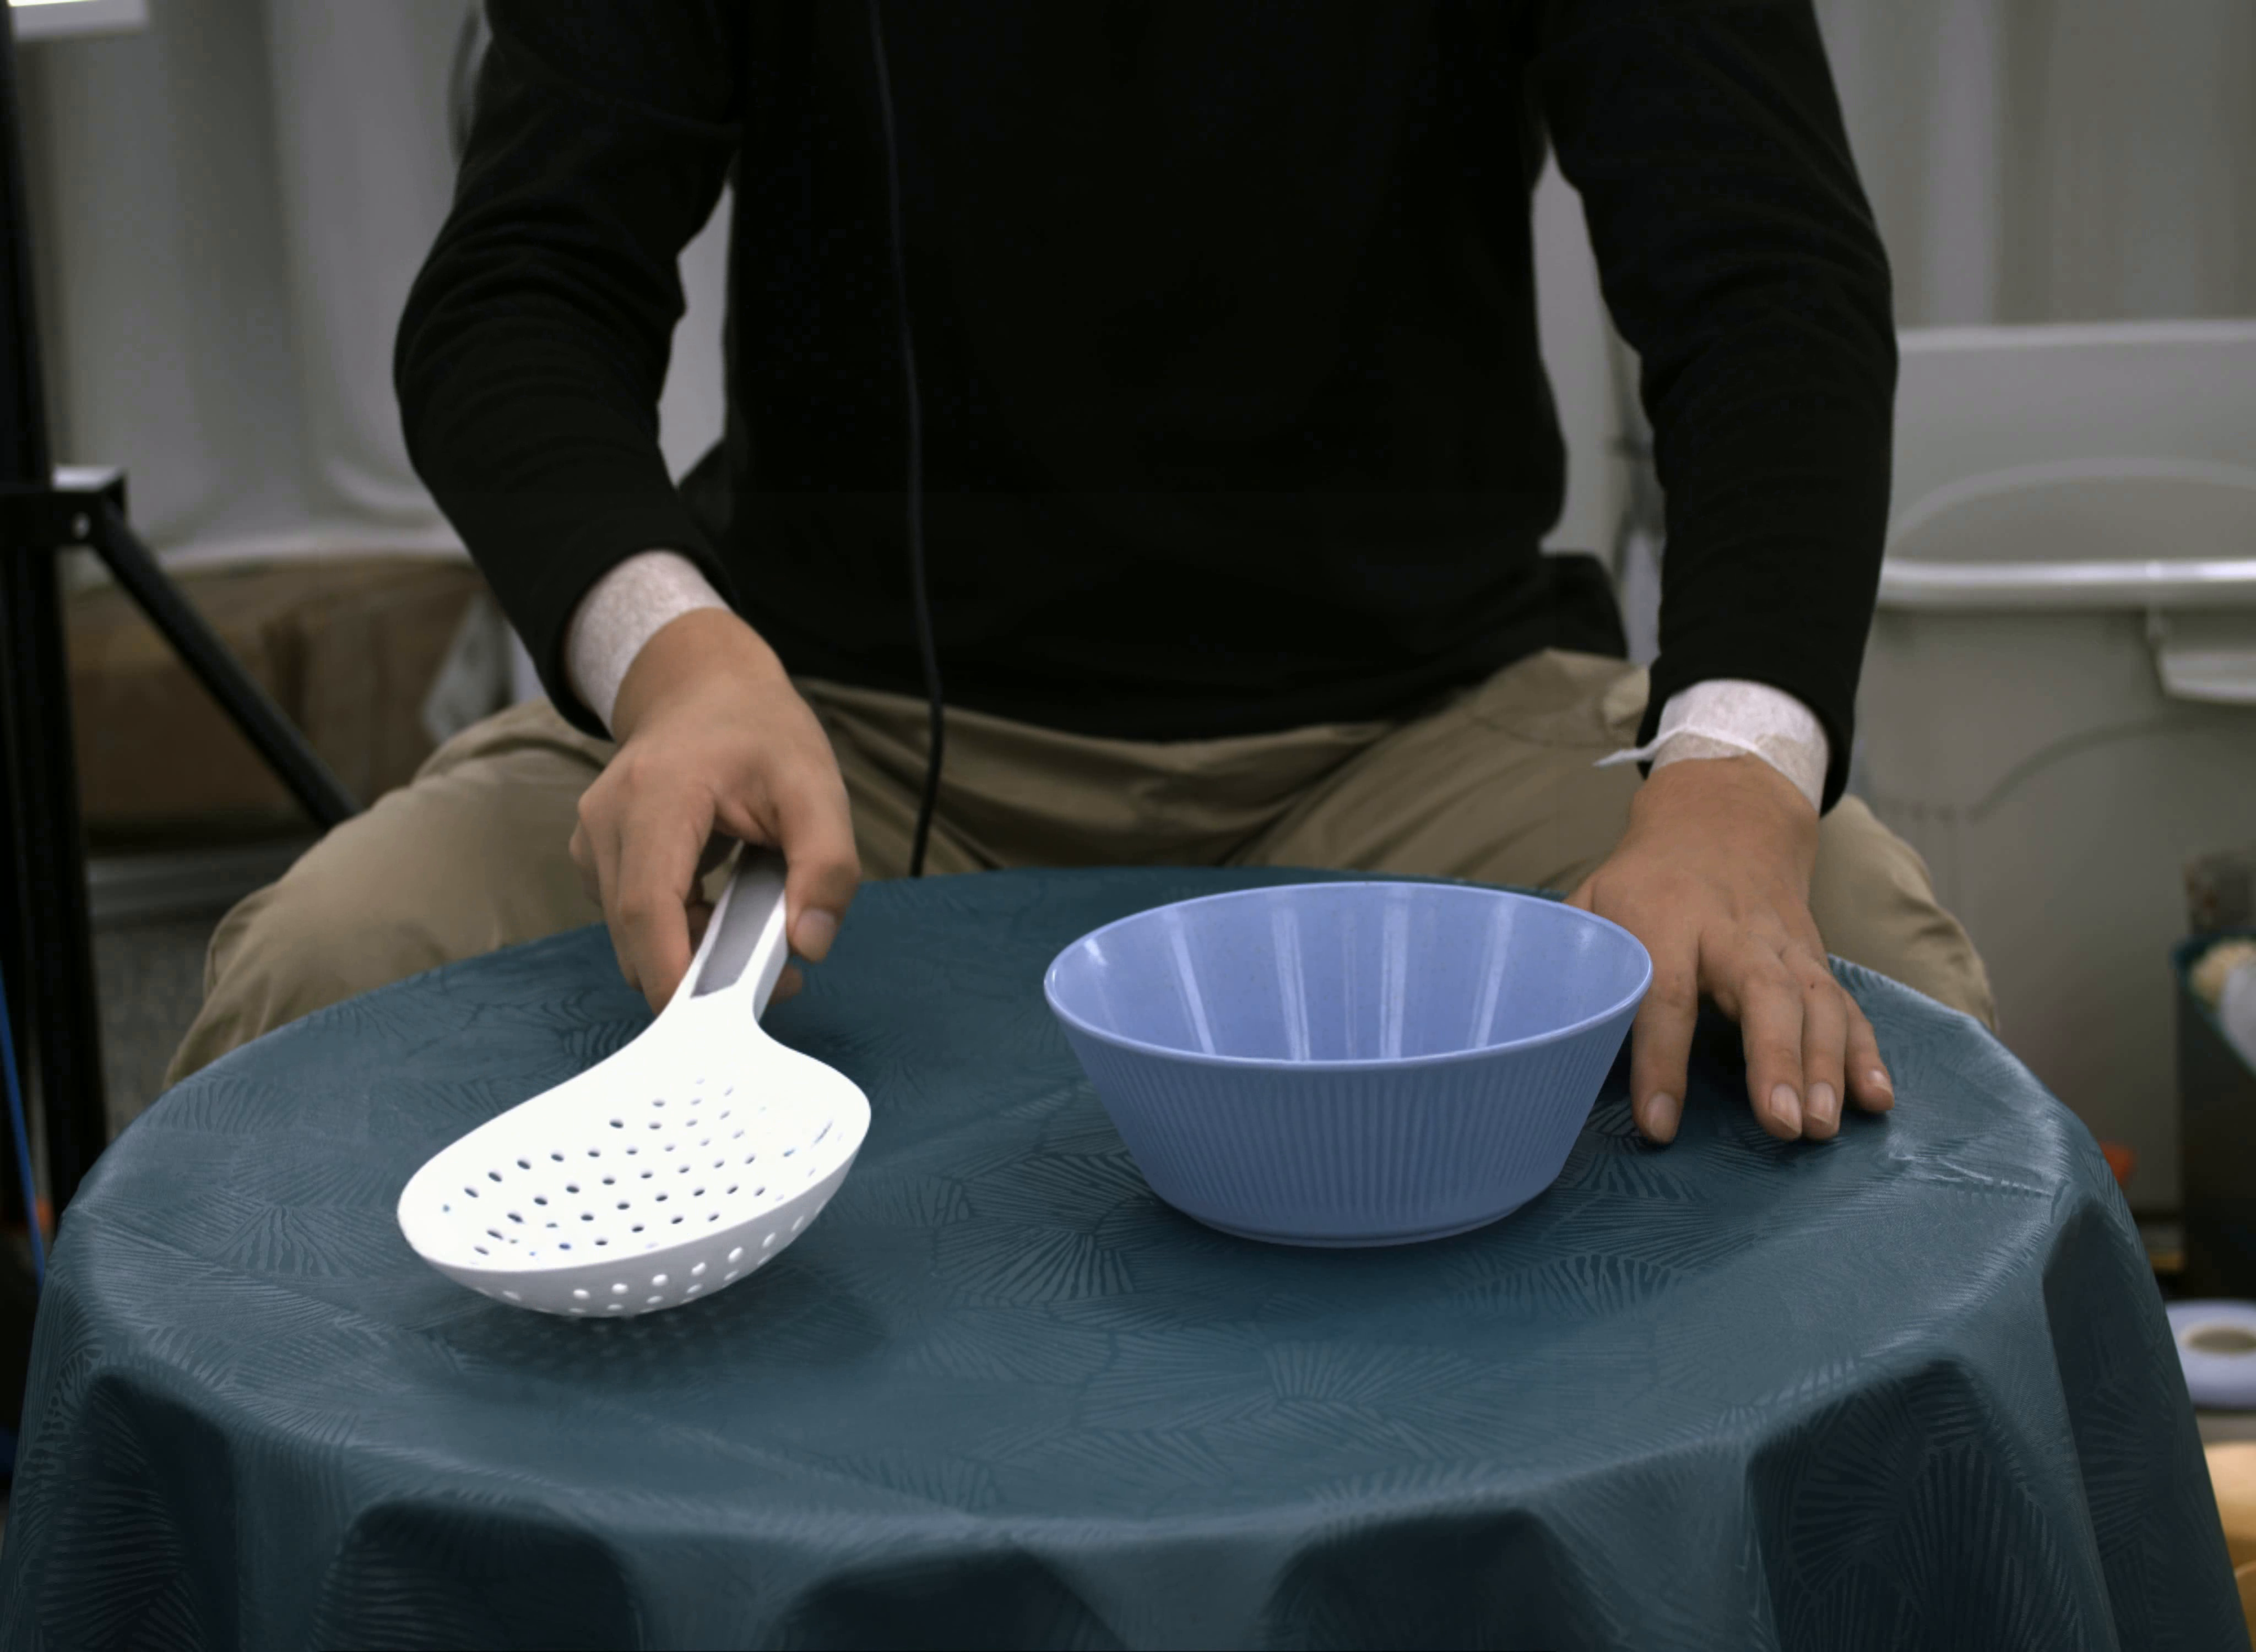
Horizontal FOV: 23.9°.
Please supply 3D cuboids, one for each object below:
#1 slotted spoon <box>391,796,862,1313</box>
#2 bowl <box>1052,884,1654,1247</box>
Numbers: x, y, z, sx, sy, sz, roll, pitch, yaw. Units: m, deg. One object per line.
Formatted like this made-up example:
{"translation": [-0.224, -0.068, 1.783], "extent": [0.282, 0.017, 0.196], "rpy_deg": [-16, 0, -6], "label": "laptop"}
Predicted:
{"translation": [-0.127, 0.060, 1.588], "extent": [0.136, 0.045, 0.350], "rpy_deg": [-11, 24, 10], "label": "slotted spoon"}
{"translation": [0.066, 0.072, 1.544], "extent": [0.175, 0.070, 0.177], "rpy_deg": [-2, 15, -1], "label": "bowl"}
